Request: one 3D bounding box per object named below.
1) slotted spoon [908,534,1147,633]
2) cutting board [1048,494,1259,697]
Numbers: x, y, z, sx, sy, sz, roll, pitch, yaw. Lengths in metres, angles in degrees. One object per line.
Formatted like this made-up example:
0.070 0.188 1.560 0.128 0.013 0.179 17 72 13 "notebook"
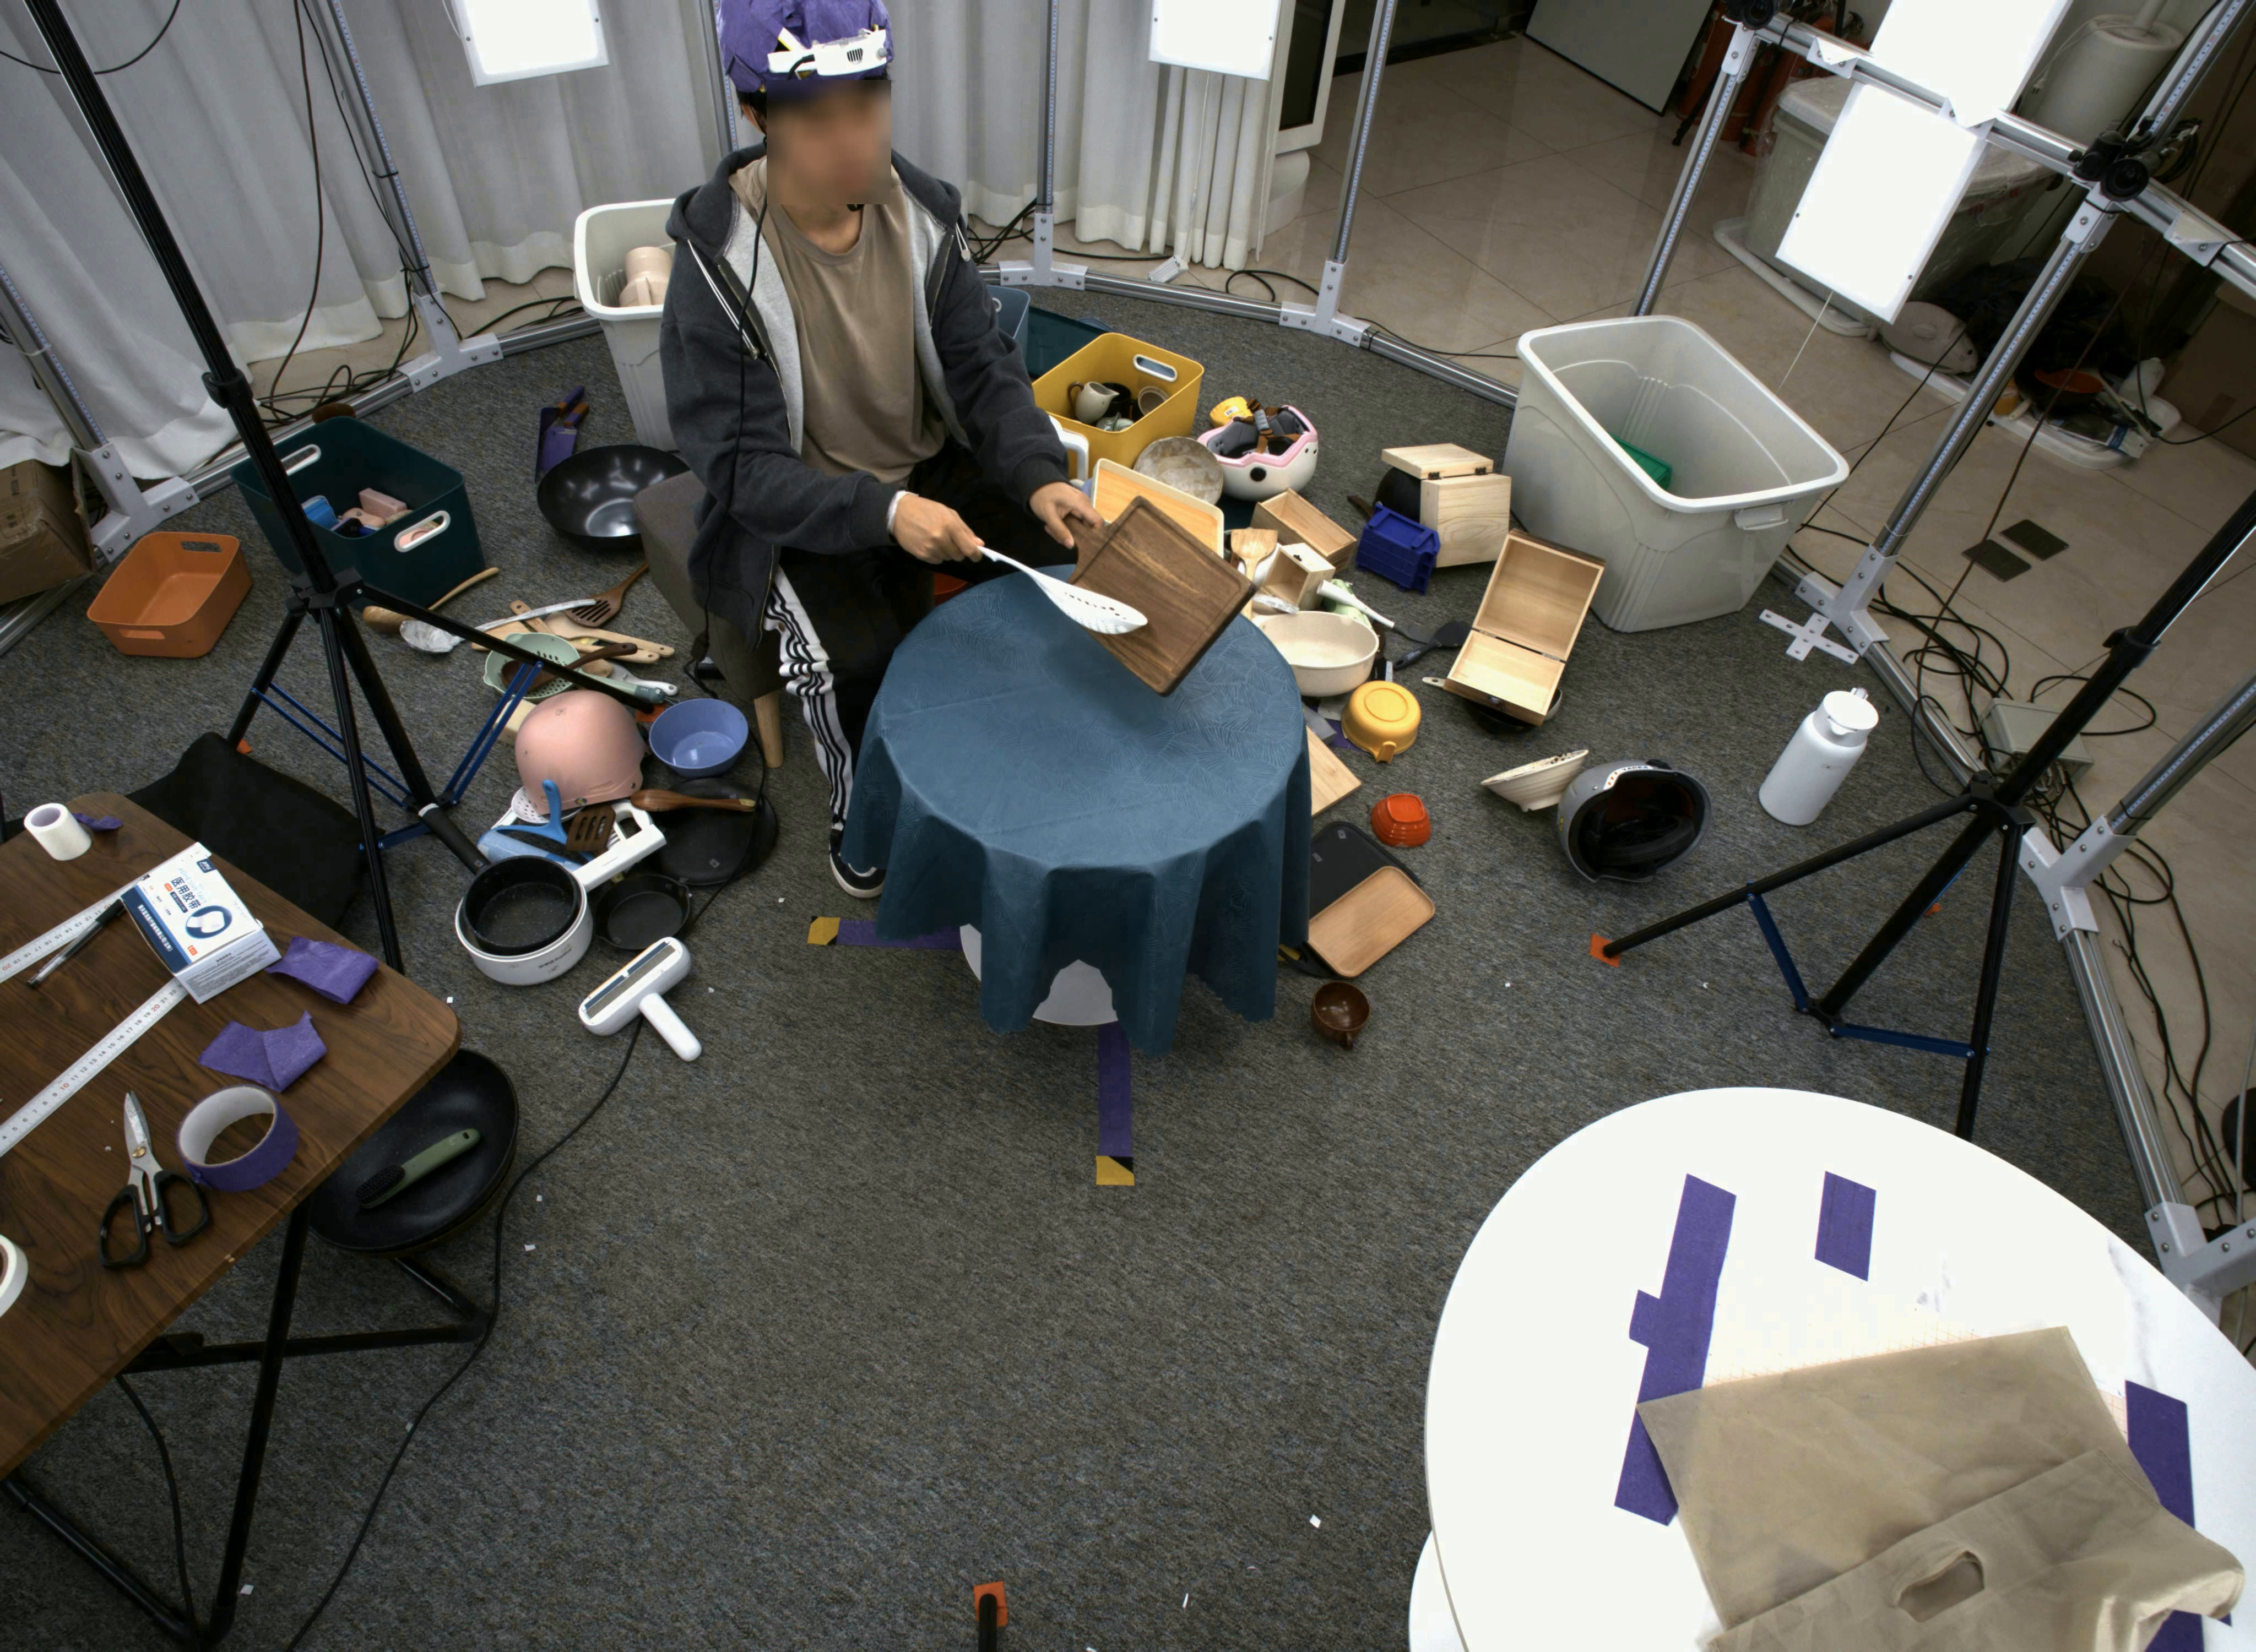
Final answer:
-0.138 -0.338 1.749 0.349 0.050 0.137 29 18 9 "slotted spoon"
0.004 -0.352 1.804 0.200 0.023 0.358 -49 59 6 "cutting board"
